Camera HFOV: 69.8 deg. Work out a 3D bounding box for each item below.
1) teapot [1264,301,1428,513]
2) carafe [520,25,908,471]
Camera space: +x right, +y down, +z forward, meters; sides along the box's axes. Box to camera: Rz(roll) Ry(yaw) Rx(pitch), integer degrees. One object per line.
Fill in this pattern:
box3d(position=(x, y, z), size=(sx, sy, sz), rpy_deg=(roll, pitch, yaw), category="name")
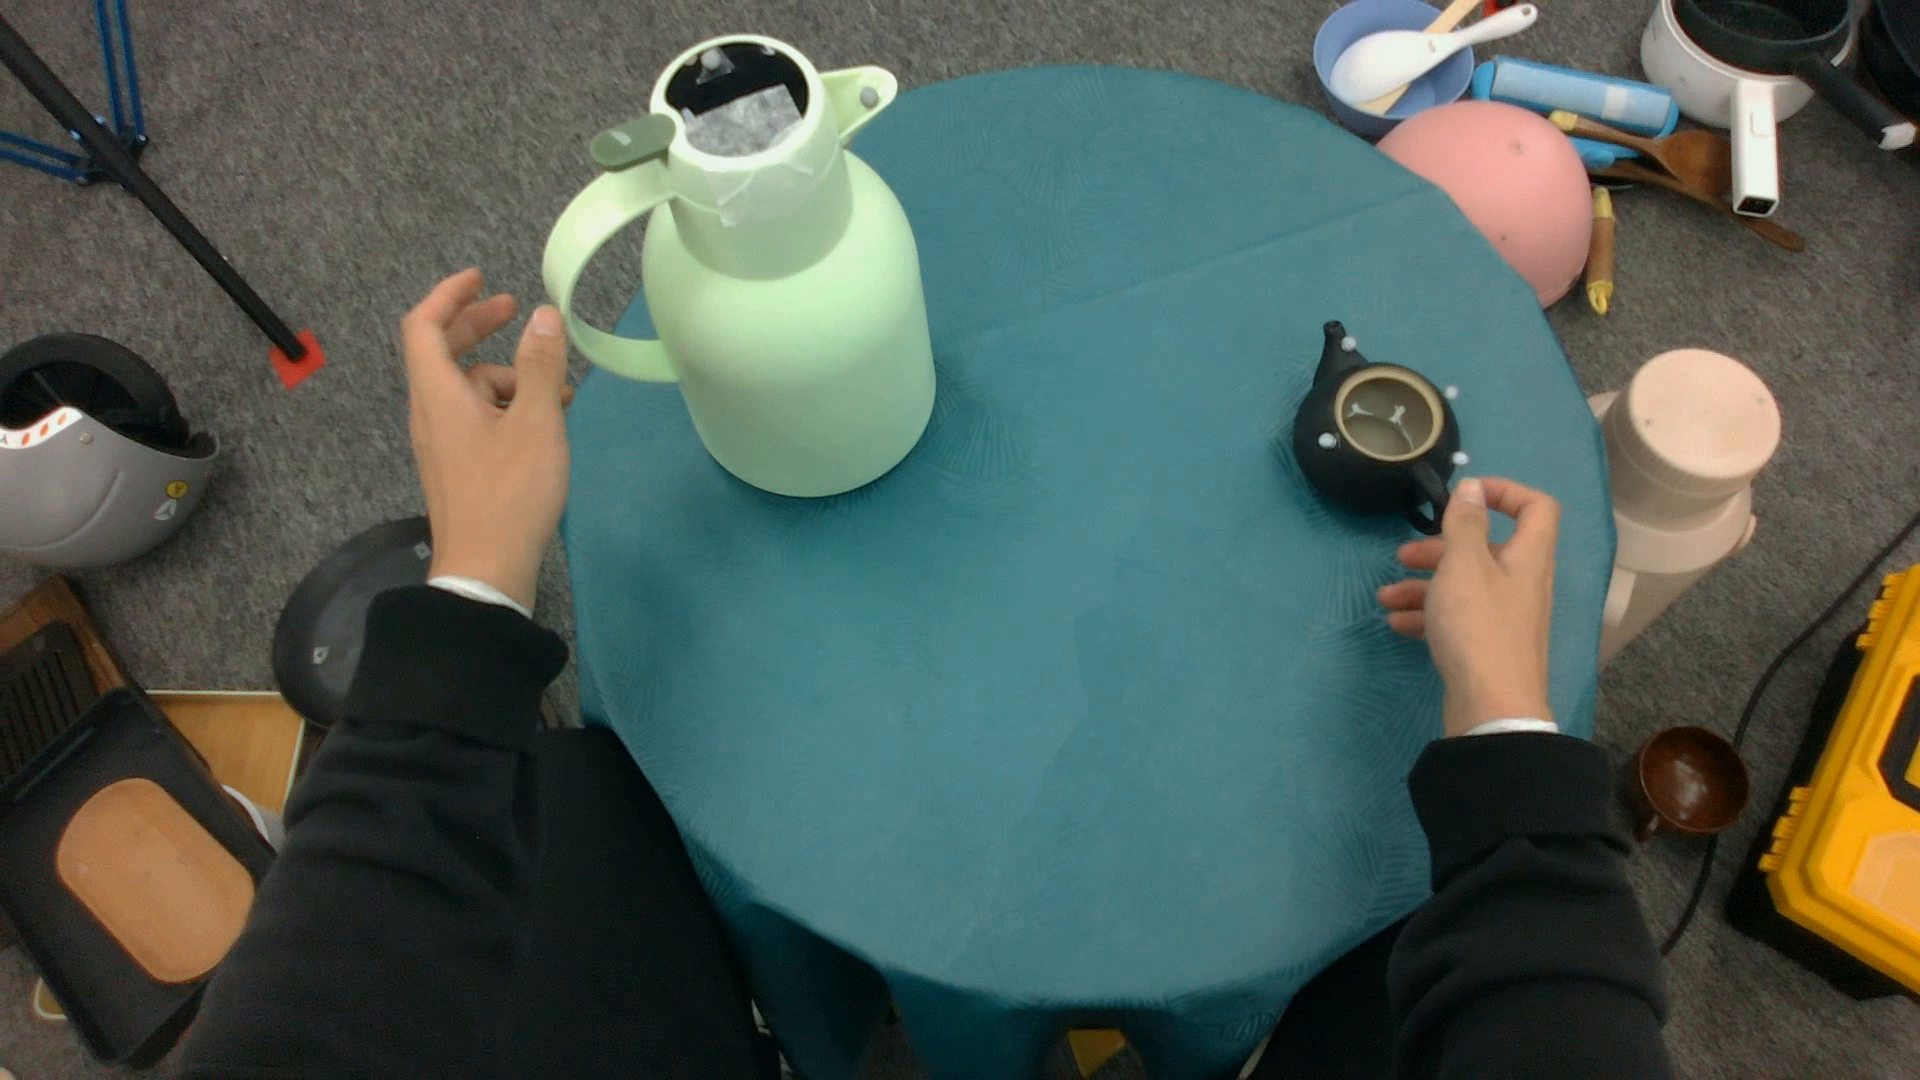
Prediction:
box3d(position=(0.219, -0.071, 0.777), size=(0.091, 0.053, 0.133), rpy_deg=(-23, 67, -7), category="teapot")
box3d(position=(-0.118, -0.141, 0.708), size=(0.187, 0.256, 0.144), rpy_deg=(-28, 70, -7), category="carafe")
